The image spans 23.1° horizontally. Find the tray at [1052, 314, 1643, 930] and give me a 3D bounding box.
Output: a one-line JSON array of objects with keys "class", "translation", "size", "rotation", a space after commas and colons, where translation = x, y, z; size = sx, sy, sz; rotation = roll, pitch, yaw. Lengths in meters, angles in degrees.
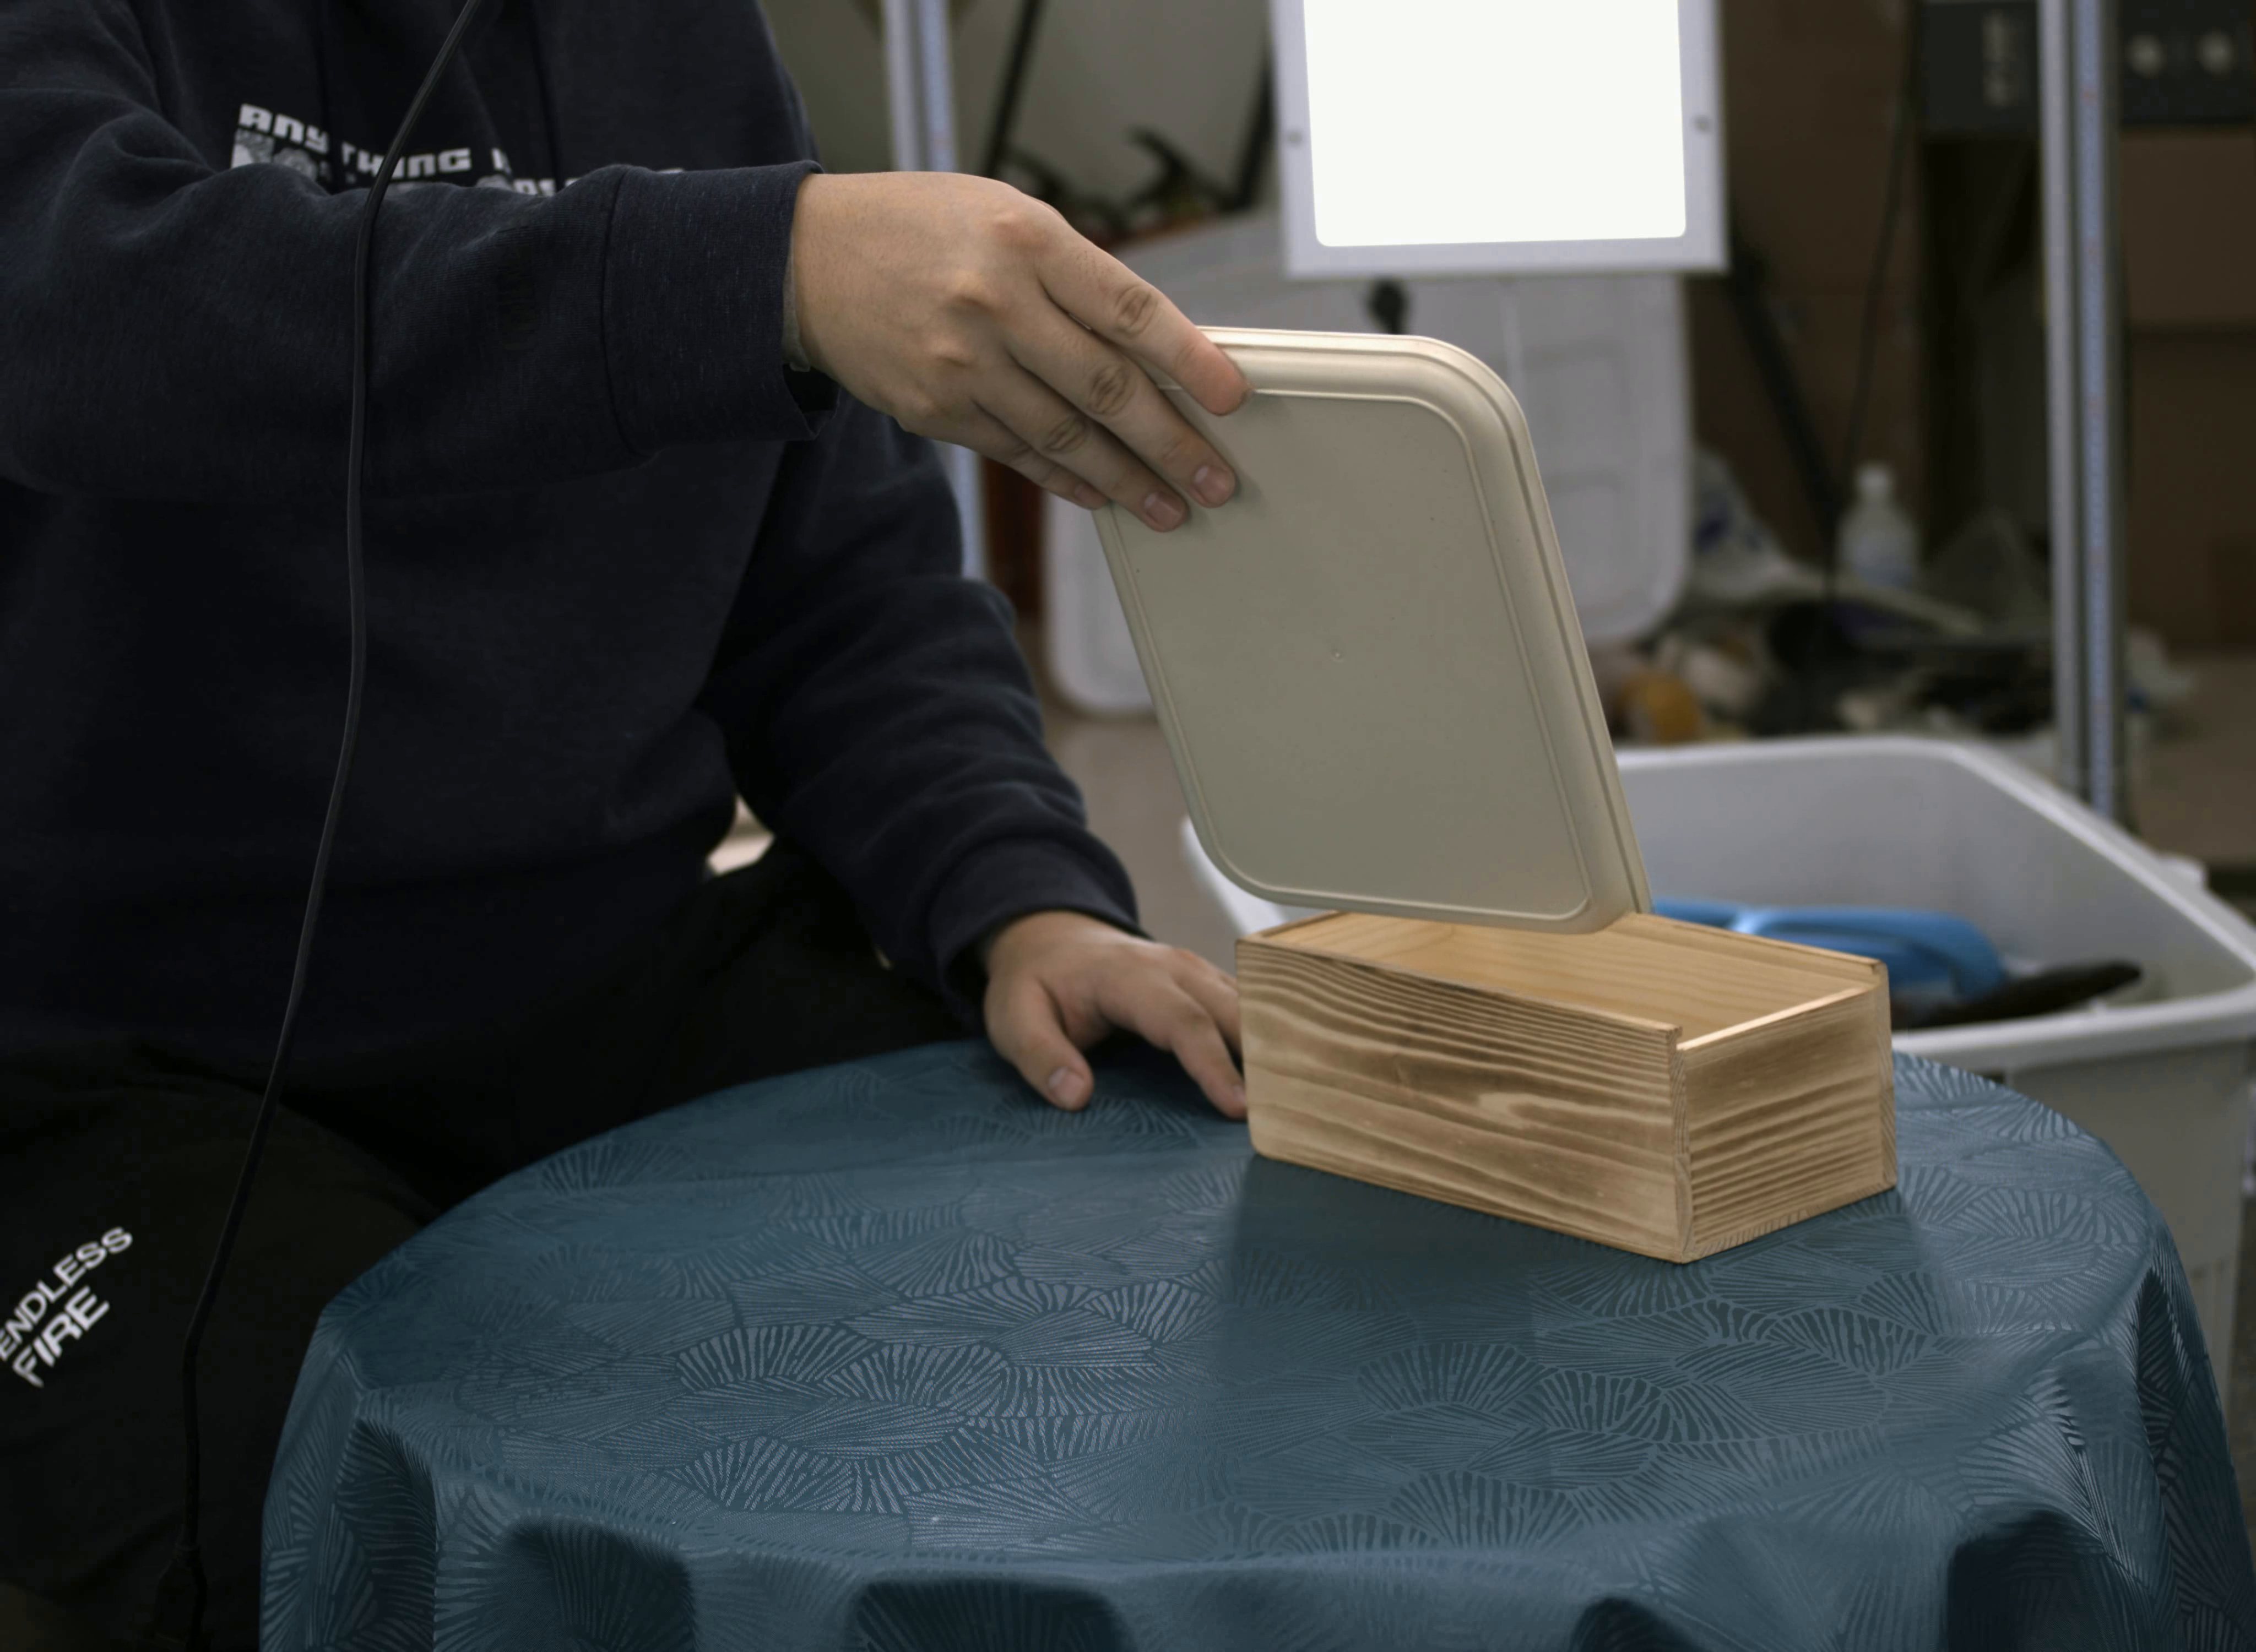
[{"class": "tray", "translation": [0.071, -0.062, 1.791], "size": [0.174, 0.239, 0.017], "rotation": [6, 41, 32]}]

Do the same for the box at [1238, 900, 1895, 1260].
[{"class": "box", "translation": [0.148, 0.079, 1.873], "size": [0.105, 0.080, 0.216], "rotation": [-15, 17, -37]}]
